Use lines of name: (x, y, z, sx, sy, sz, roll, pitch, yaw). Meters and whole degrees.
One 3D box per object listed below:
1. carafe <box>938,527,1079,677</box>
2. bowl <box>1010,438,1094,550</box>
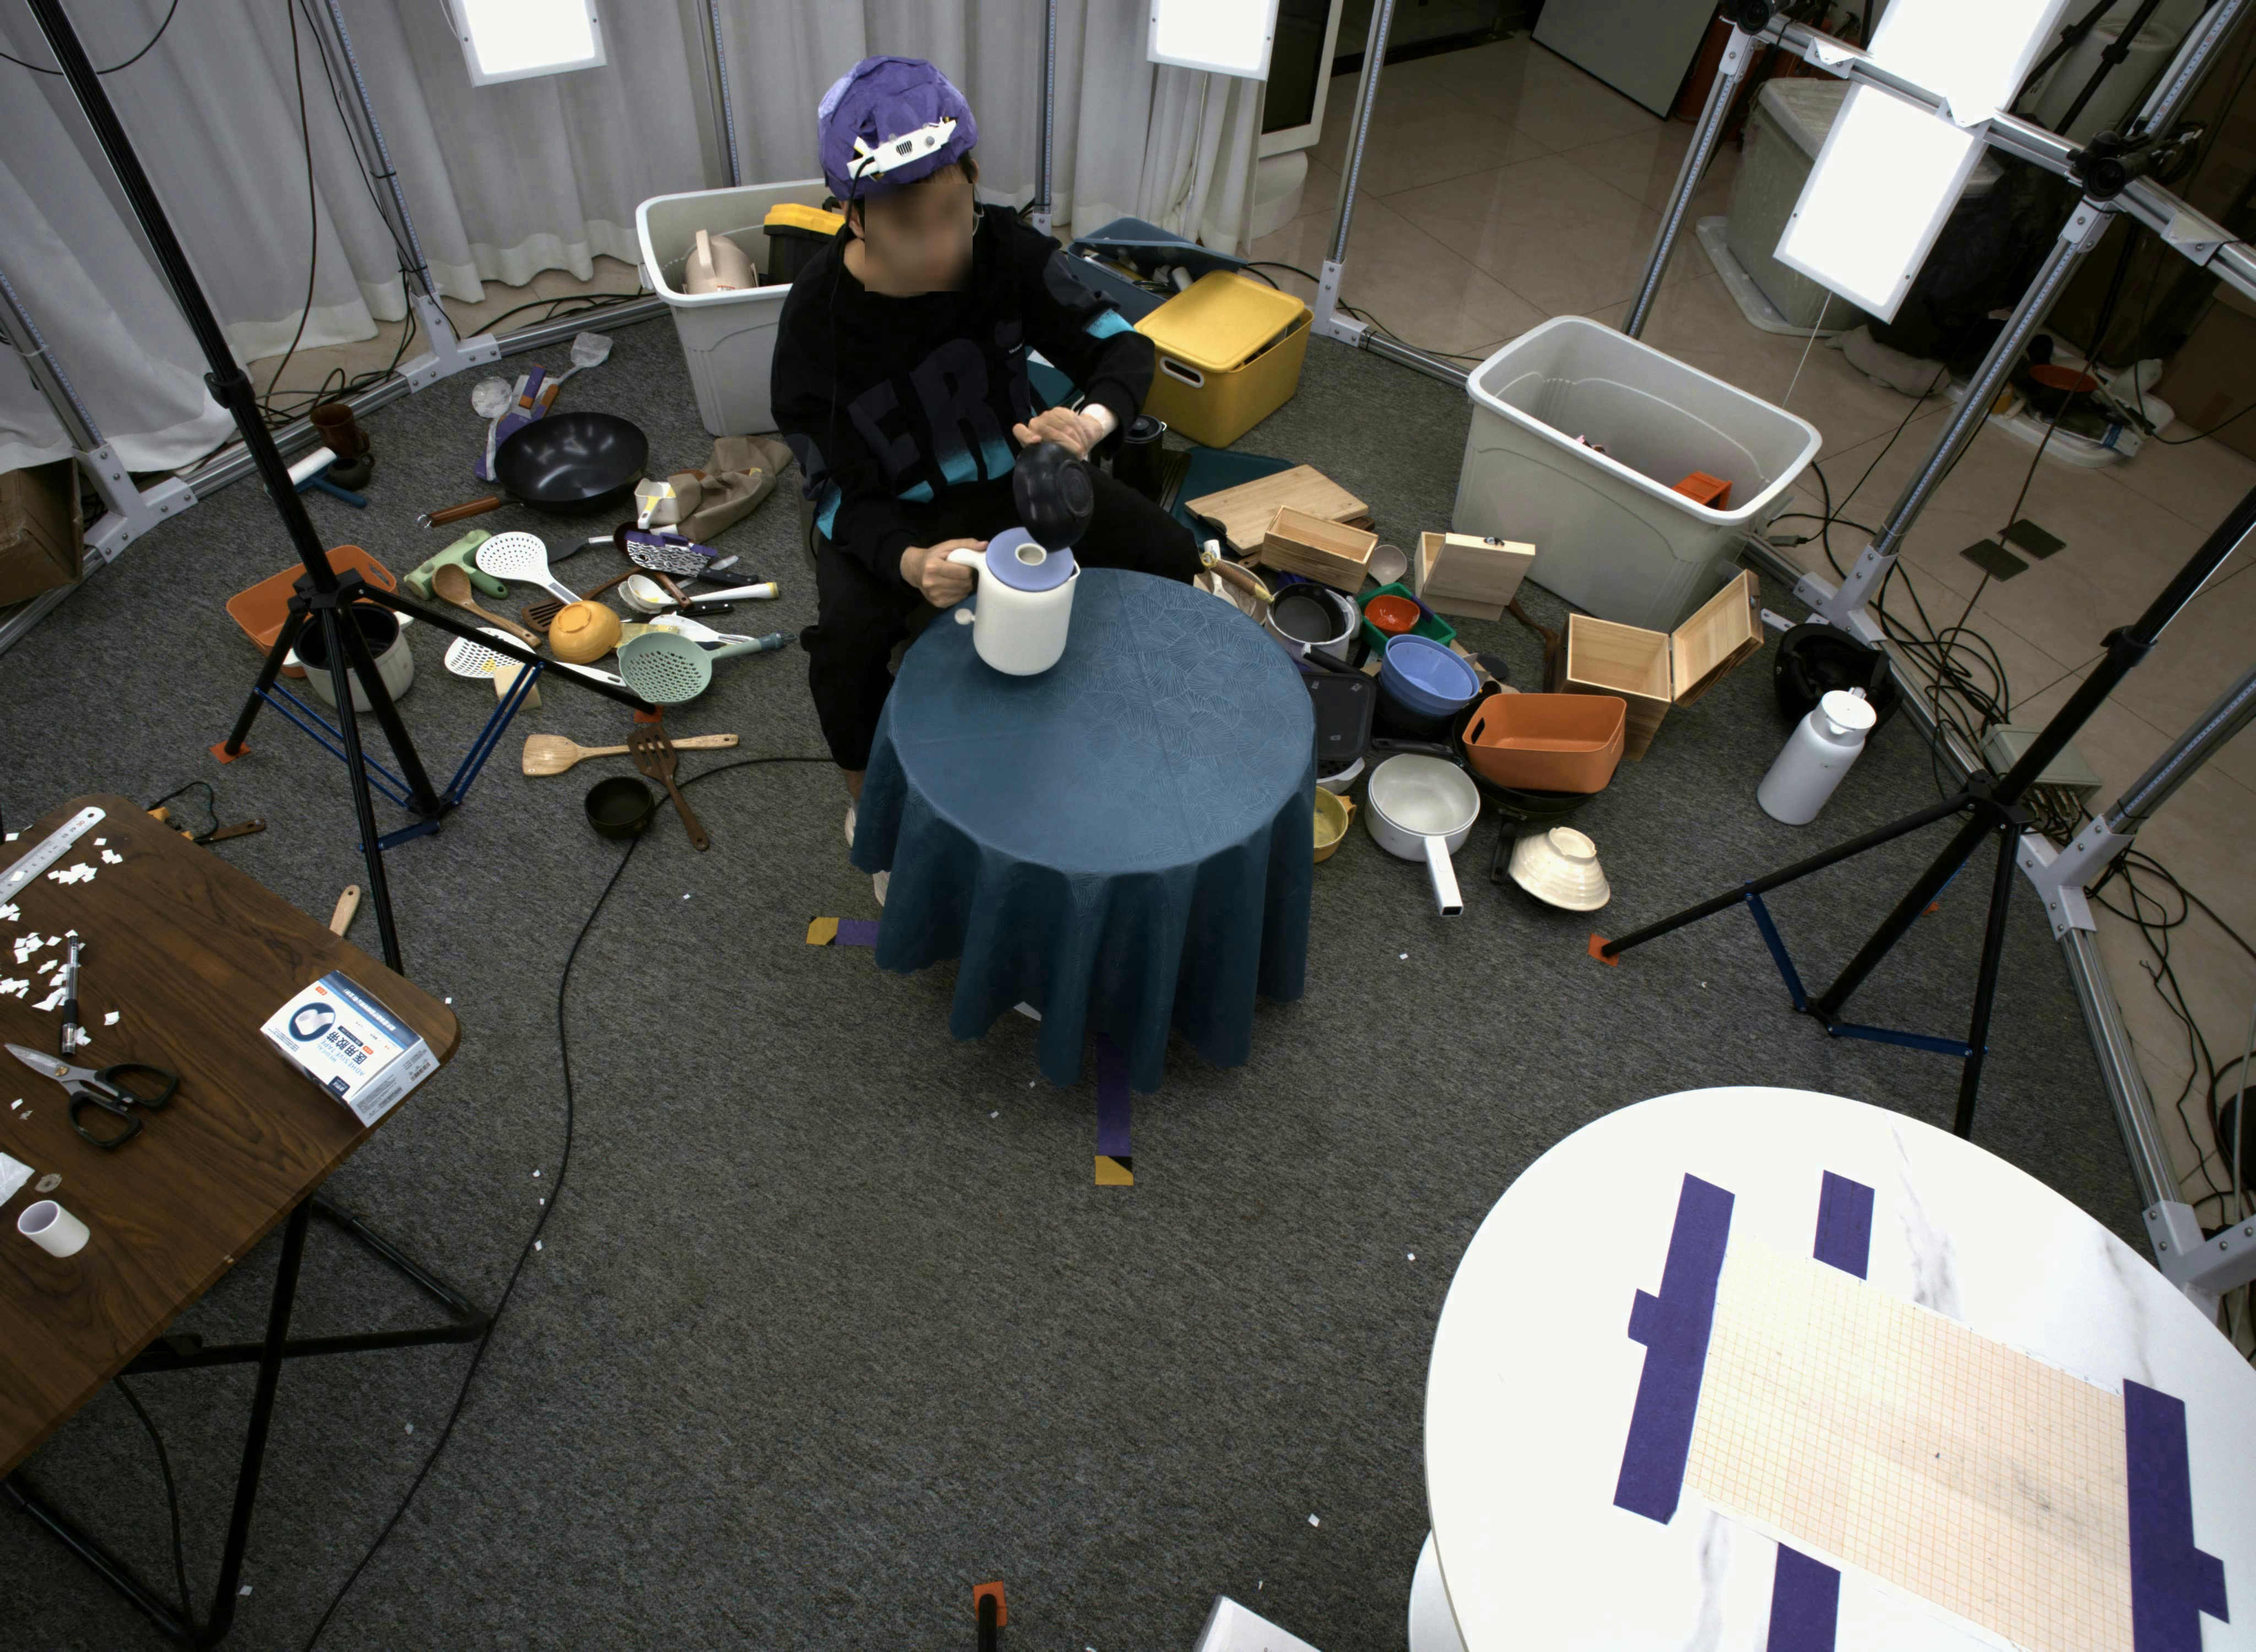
carafe: (-0.166, -0.312, 1.771, 0.191, 0.178, 0.135, 11, 51, 1)
bowl: (-0.084, -0.419, 1.613, 0.050, 0.137, 0.143, -6, 40, 35)
